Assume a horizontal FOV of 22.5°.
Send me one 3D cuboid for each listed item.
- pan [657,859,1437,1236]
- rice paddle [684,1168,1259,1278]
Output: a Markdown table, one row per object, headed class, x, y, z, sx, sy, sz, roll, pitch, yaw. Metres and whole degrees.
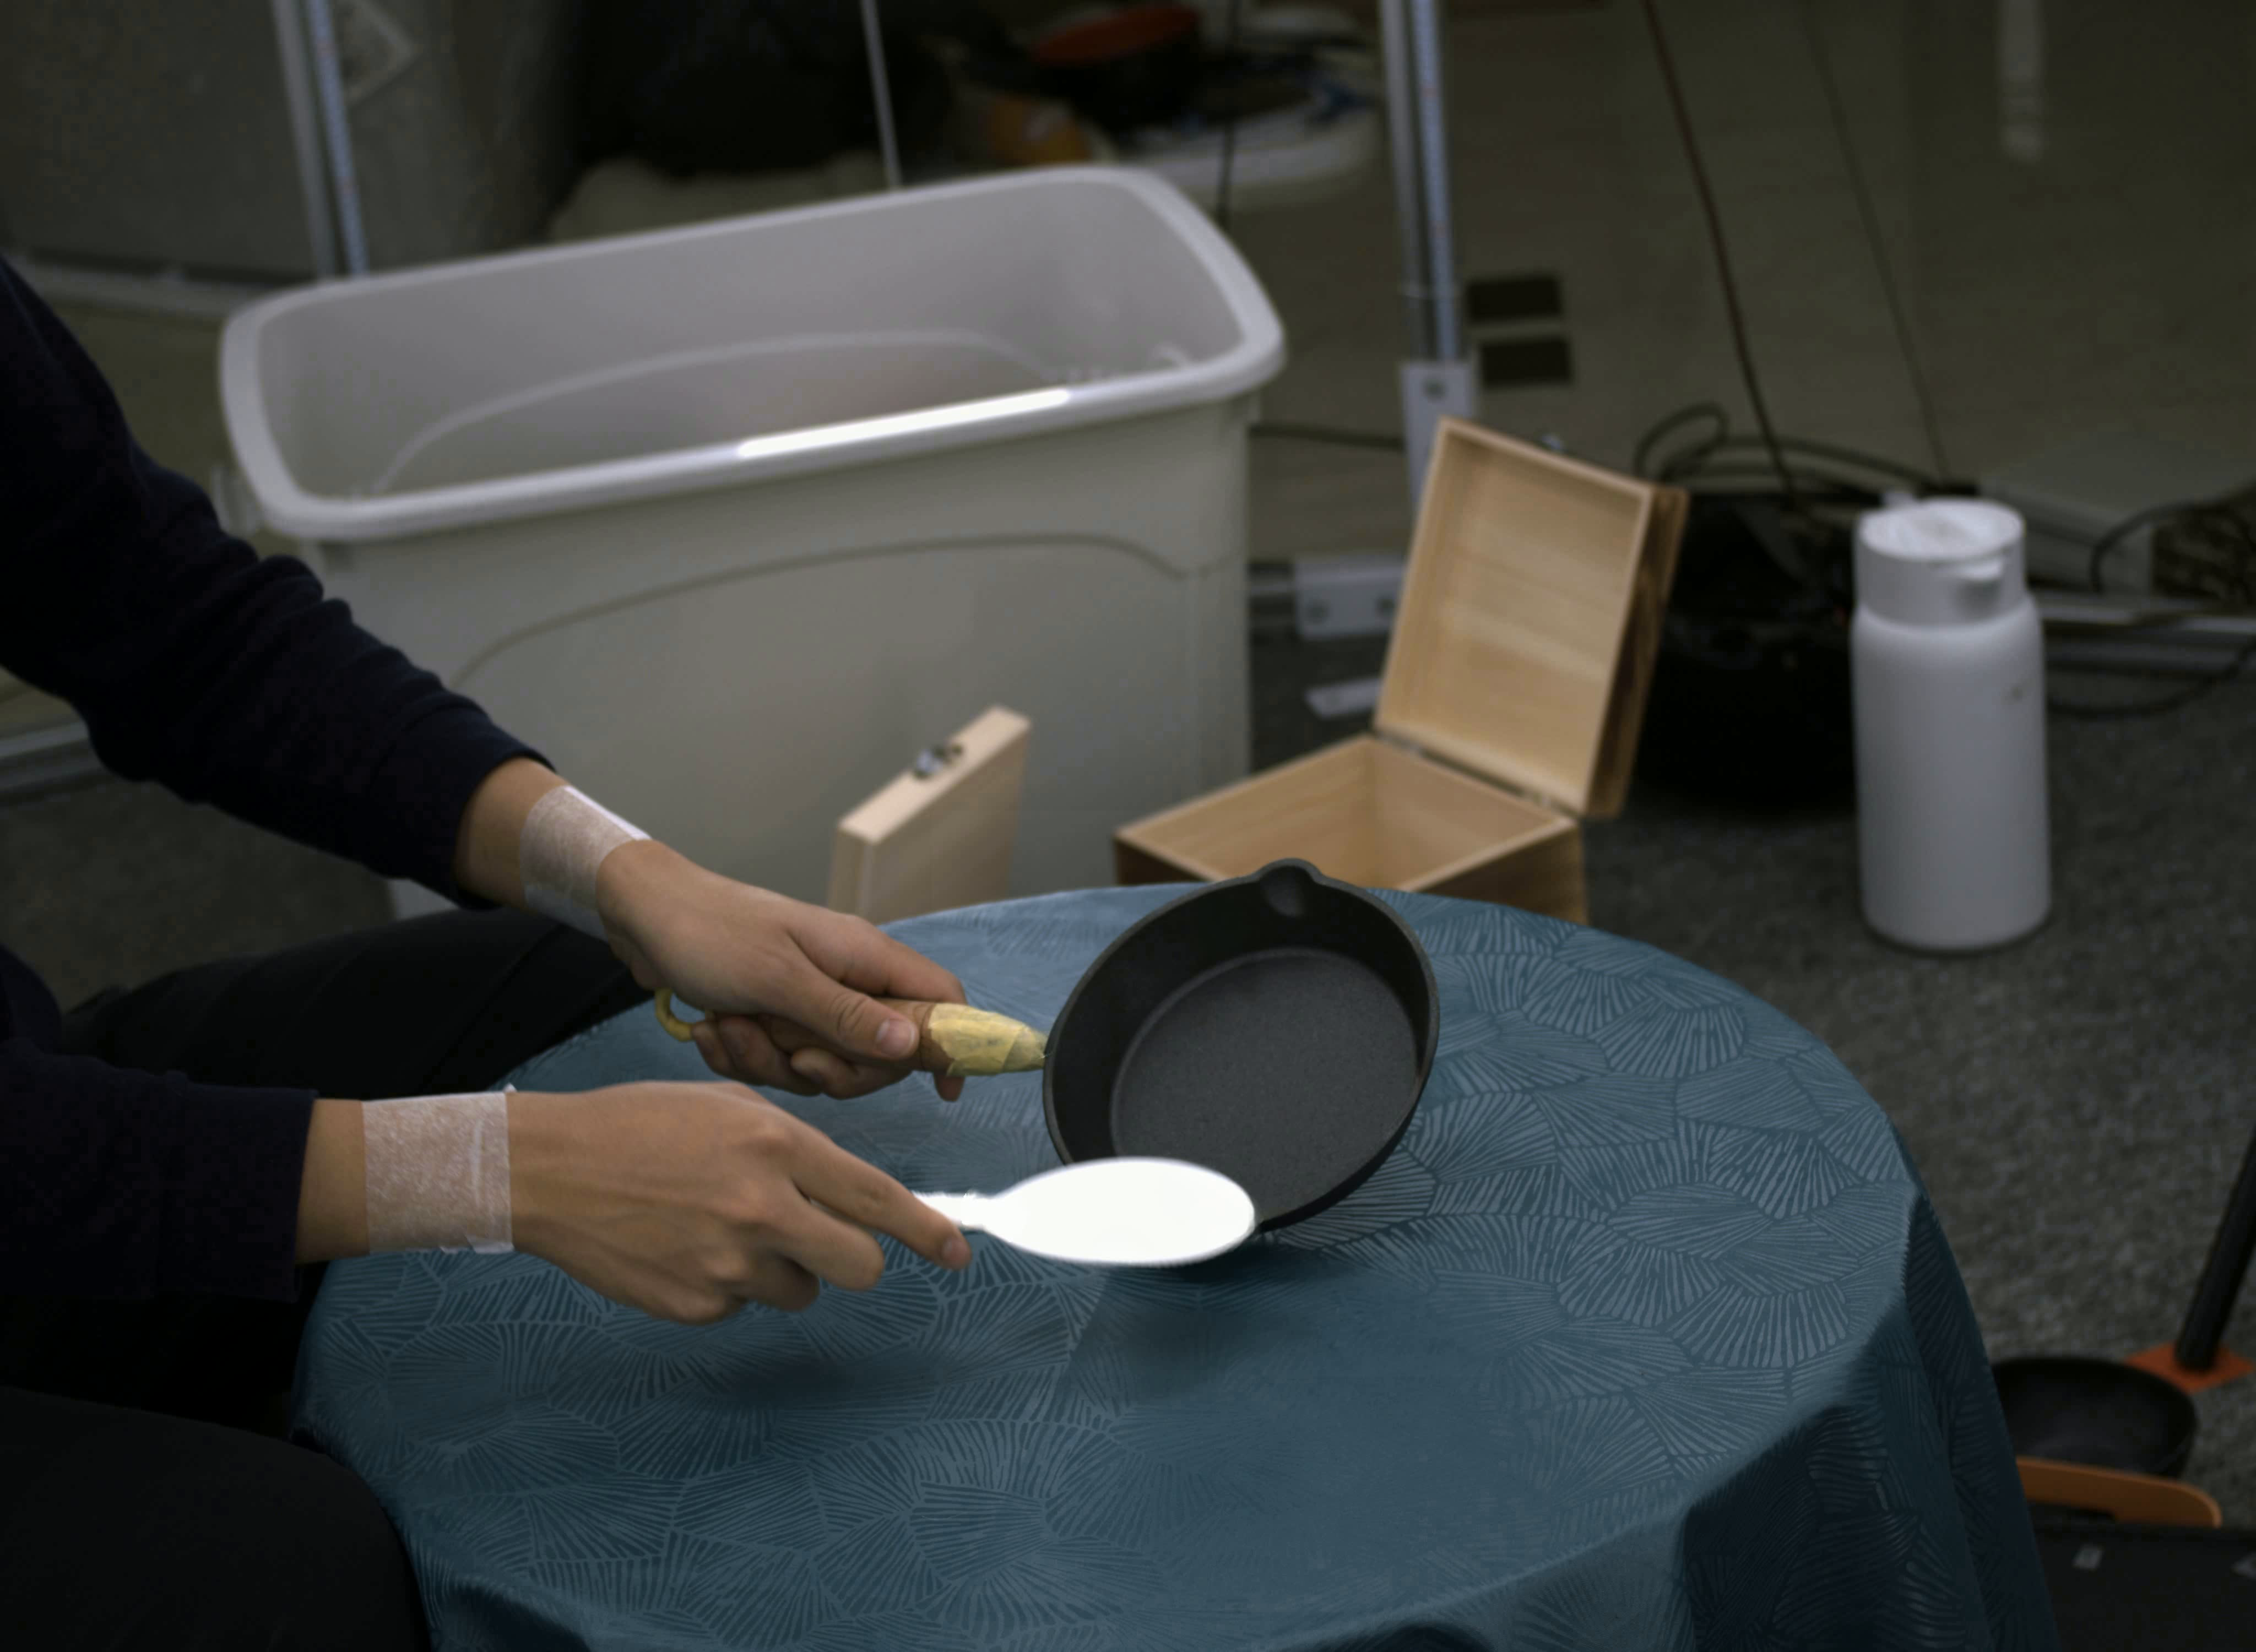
| class | x | y | z | sx | sy | sz | roll | pitch | yaw |
| --- | --- | --- | --- | --- | --- | --- | --- | --- | --- |
| pan | -0.032 | 0.083 | 2.160 | 0.323 | 0.050 | 0.166 | 4 | 59 | 25 |
| rice paddle | -0.055 | 0.142 | 2.028 | 0.205 | 0.030 | 0.067 | -1 | 30 | 1 |
